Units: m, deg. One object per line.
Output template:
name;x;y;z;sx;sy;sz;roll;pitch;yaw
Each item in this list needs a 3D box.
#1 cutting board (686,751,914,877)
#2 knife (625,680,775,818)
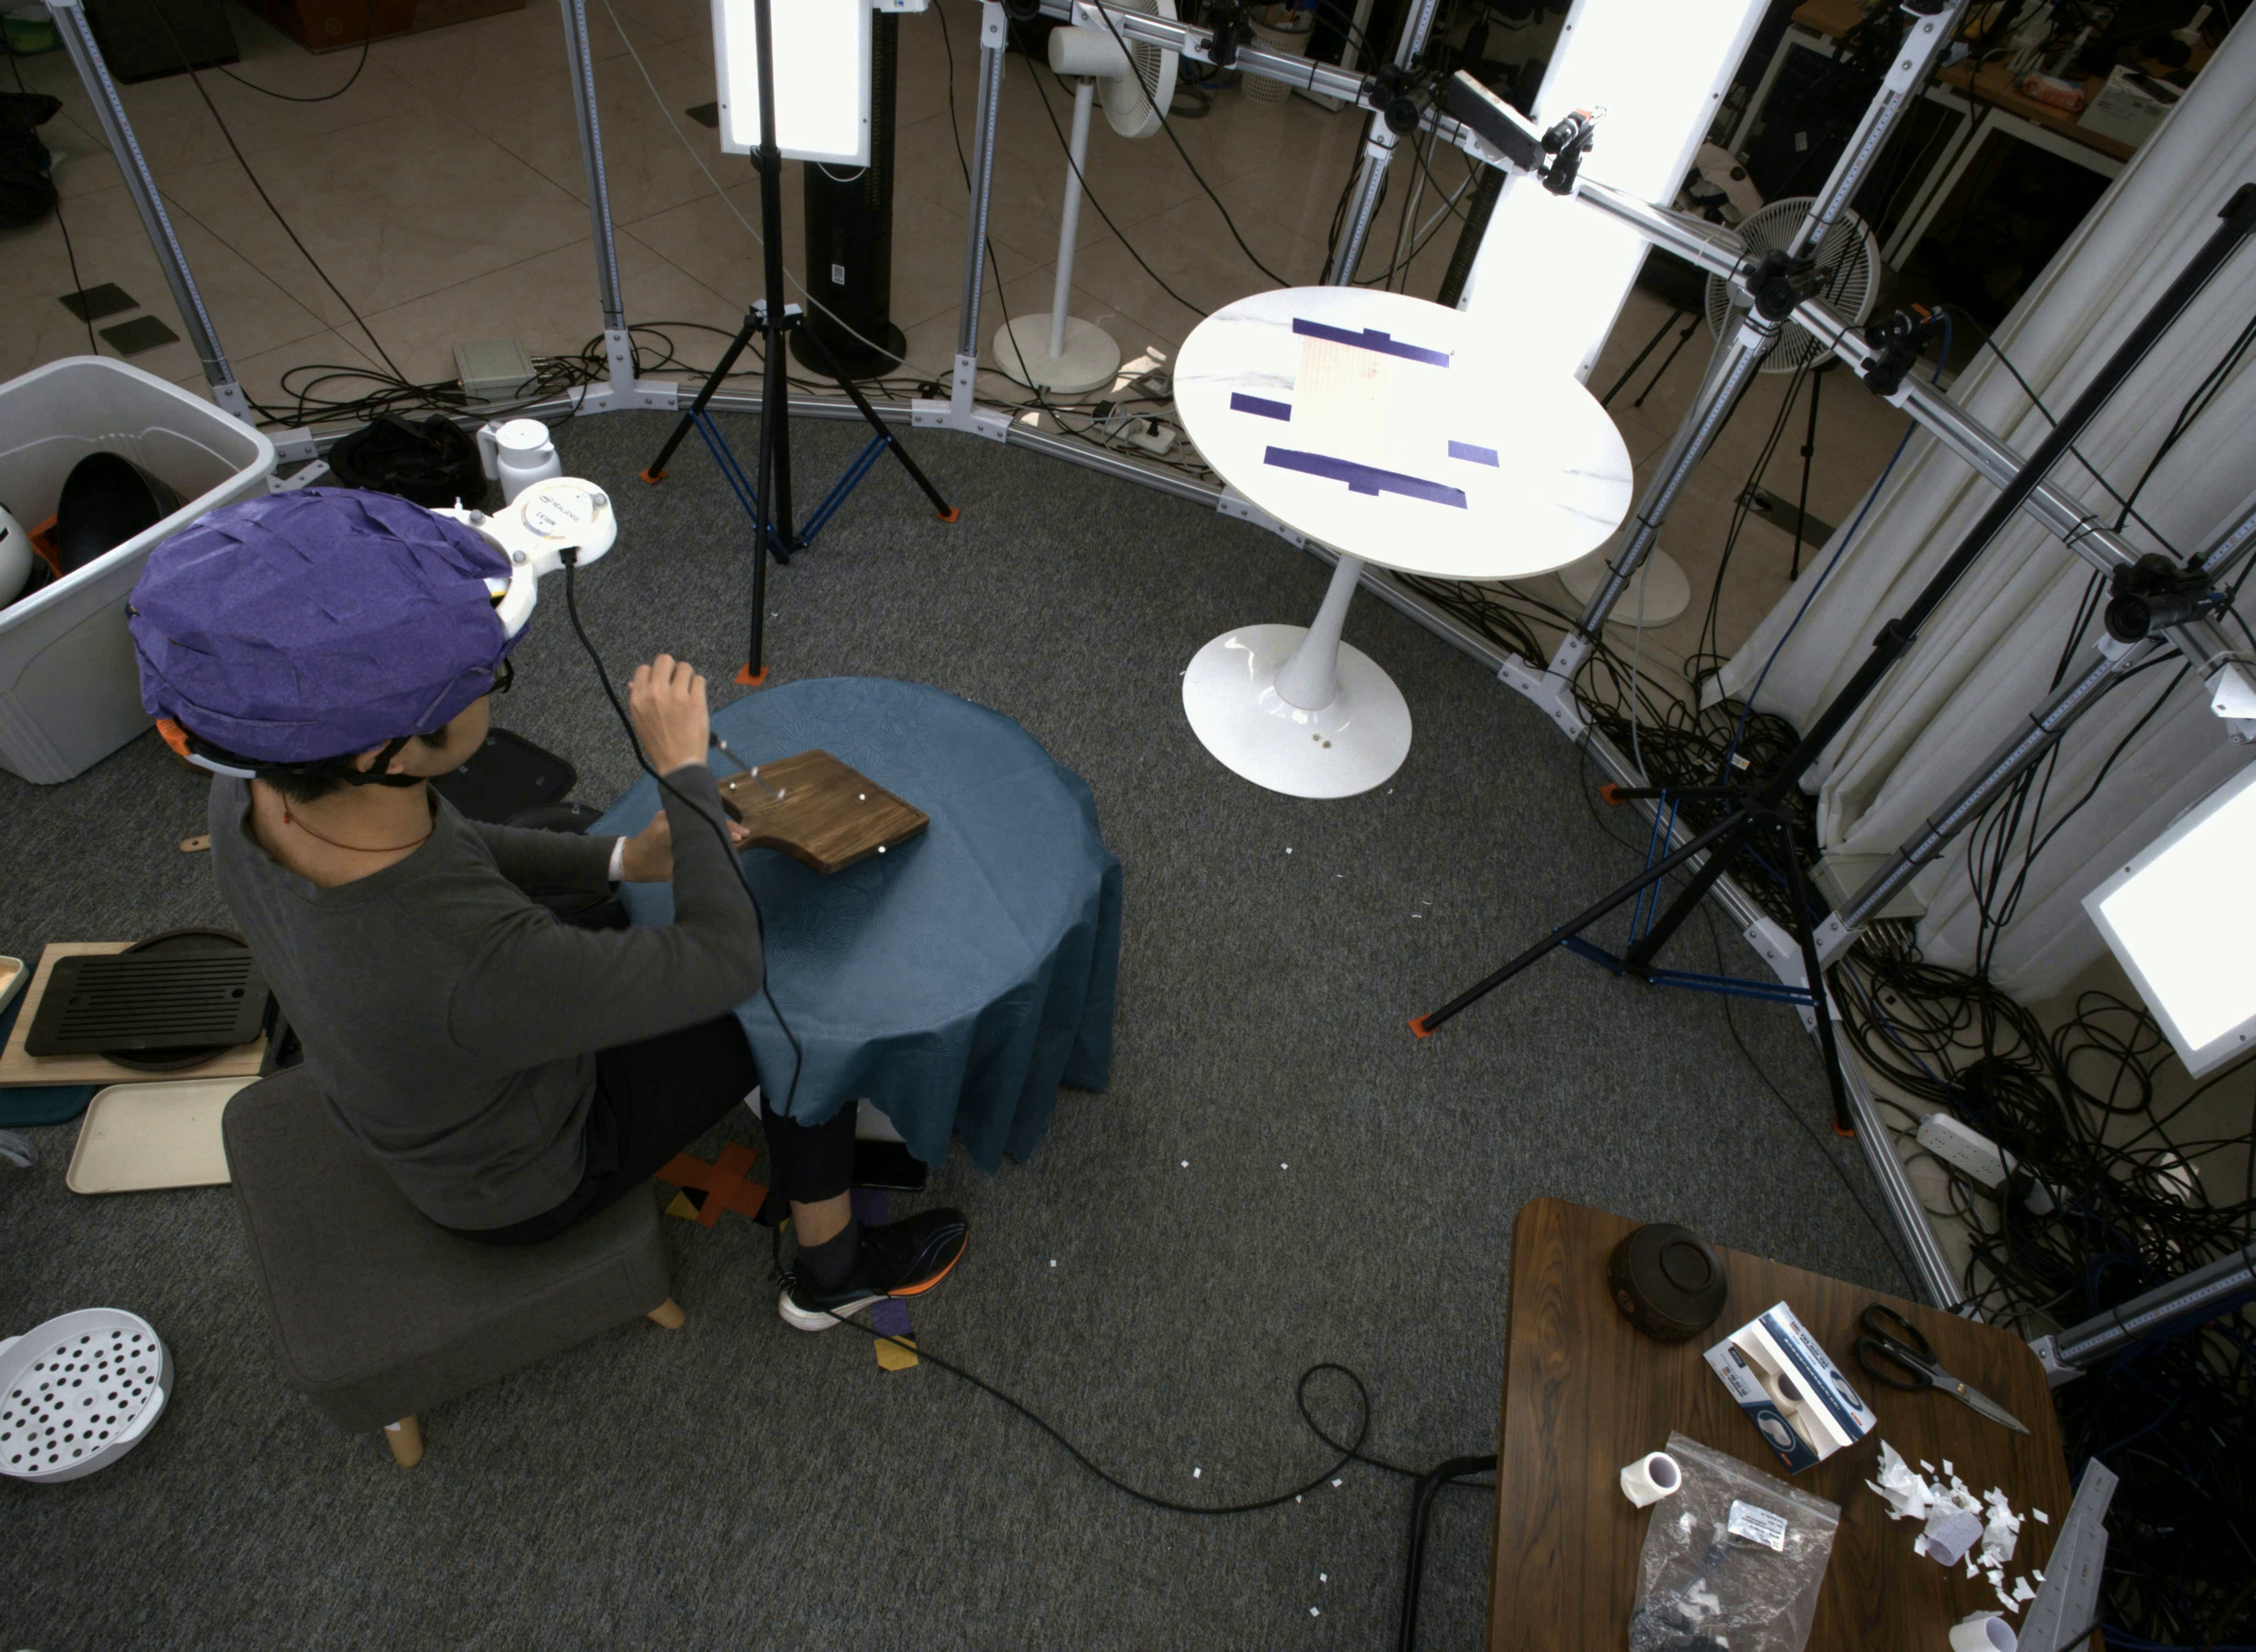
cutting board;-0.431;-0.011;1.618;0.197;0.023;0.353;31;22;10
knife;-0.496;-0.084;1.495;0.016;0.247;0.023;-38;35;5
